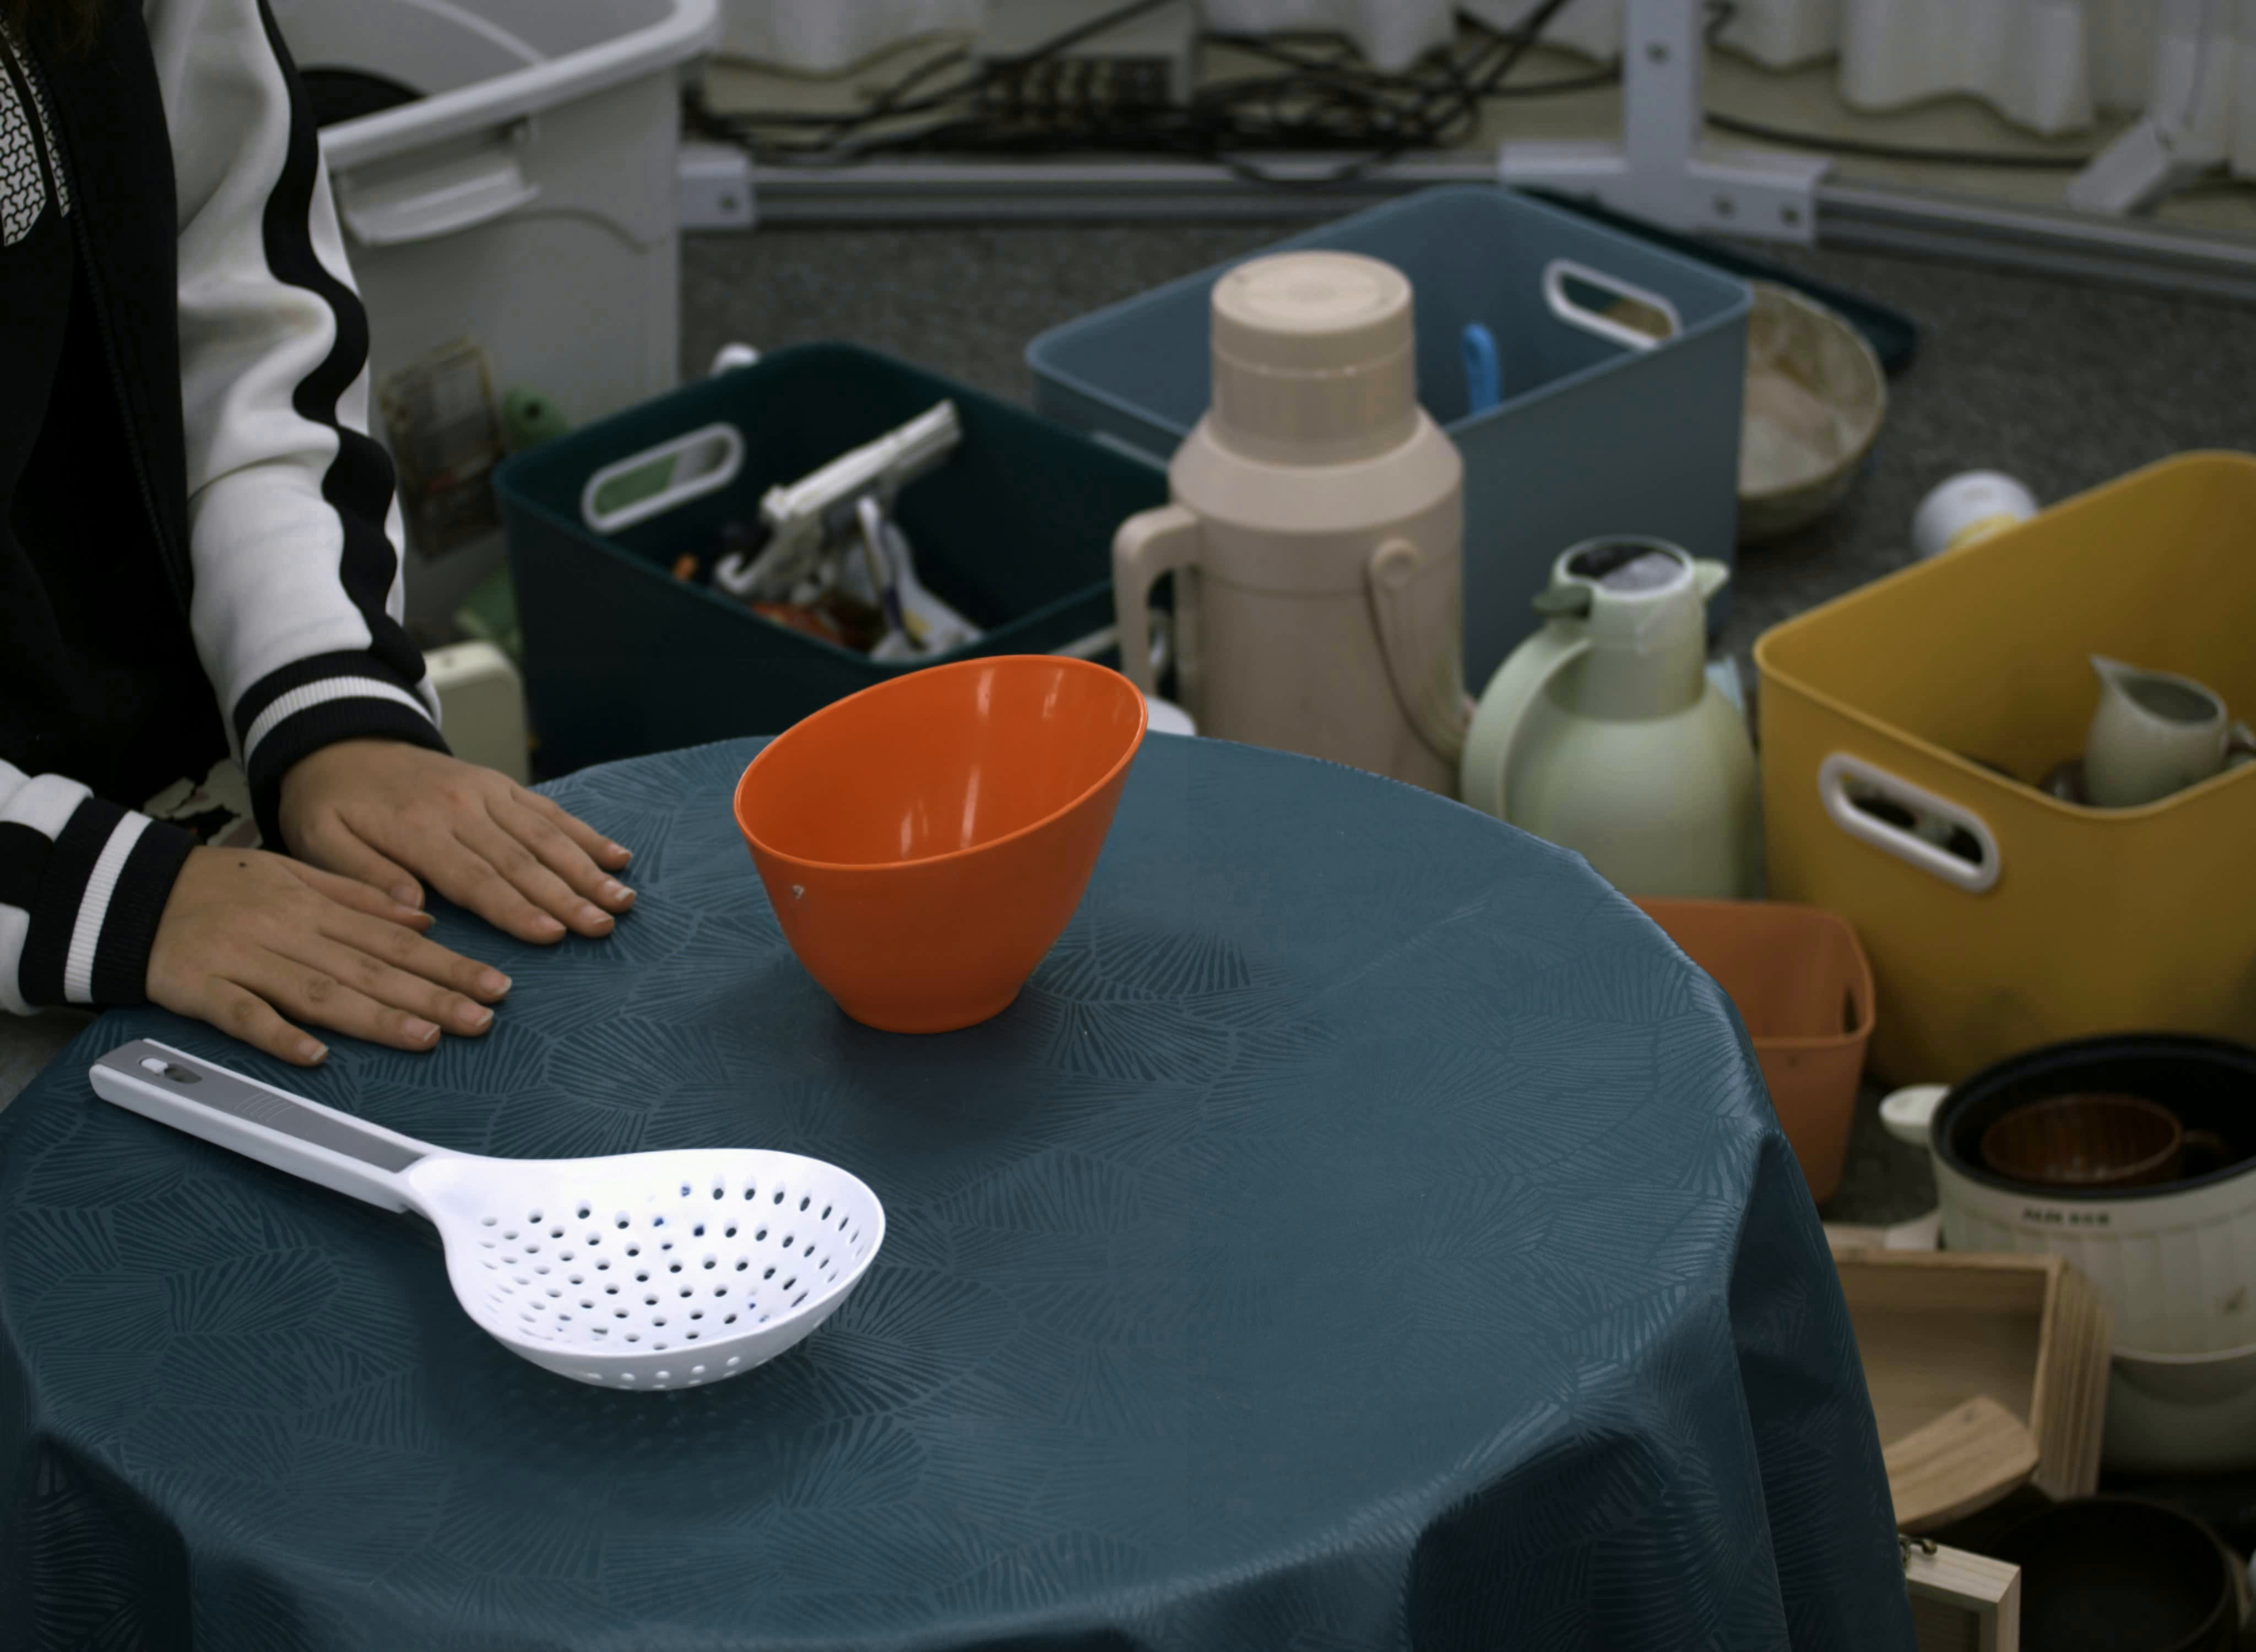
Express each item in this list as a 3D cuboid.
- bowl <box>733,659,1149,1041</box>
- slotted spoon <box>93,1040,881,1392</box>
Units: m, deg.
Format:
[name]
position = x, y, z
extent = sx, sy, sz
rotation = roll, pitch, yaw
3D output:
[bowl]
position = -0.062, 0.014, 1.968
extent = 0.147, 0.103, 0.150
rotation = -3, 28, 2
[slotted spoon]
position = -0.223, 0.120, 1.839
extent = 0.349, 0.045, 0.138
rotation = 20, 34, 38
